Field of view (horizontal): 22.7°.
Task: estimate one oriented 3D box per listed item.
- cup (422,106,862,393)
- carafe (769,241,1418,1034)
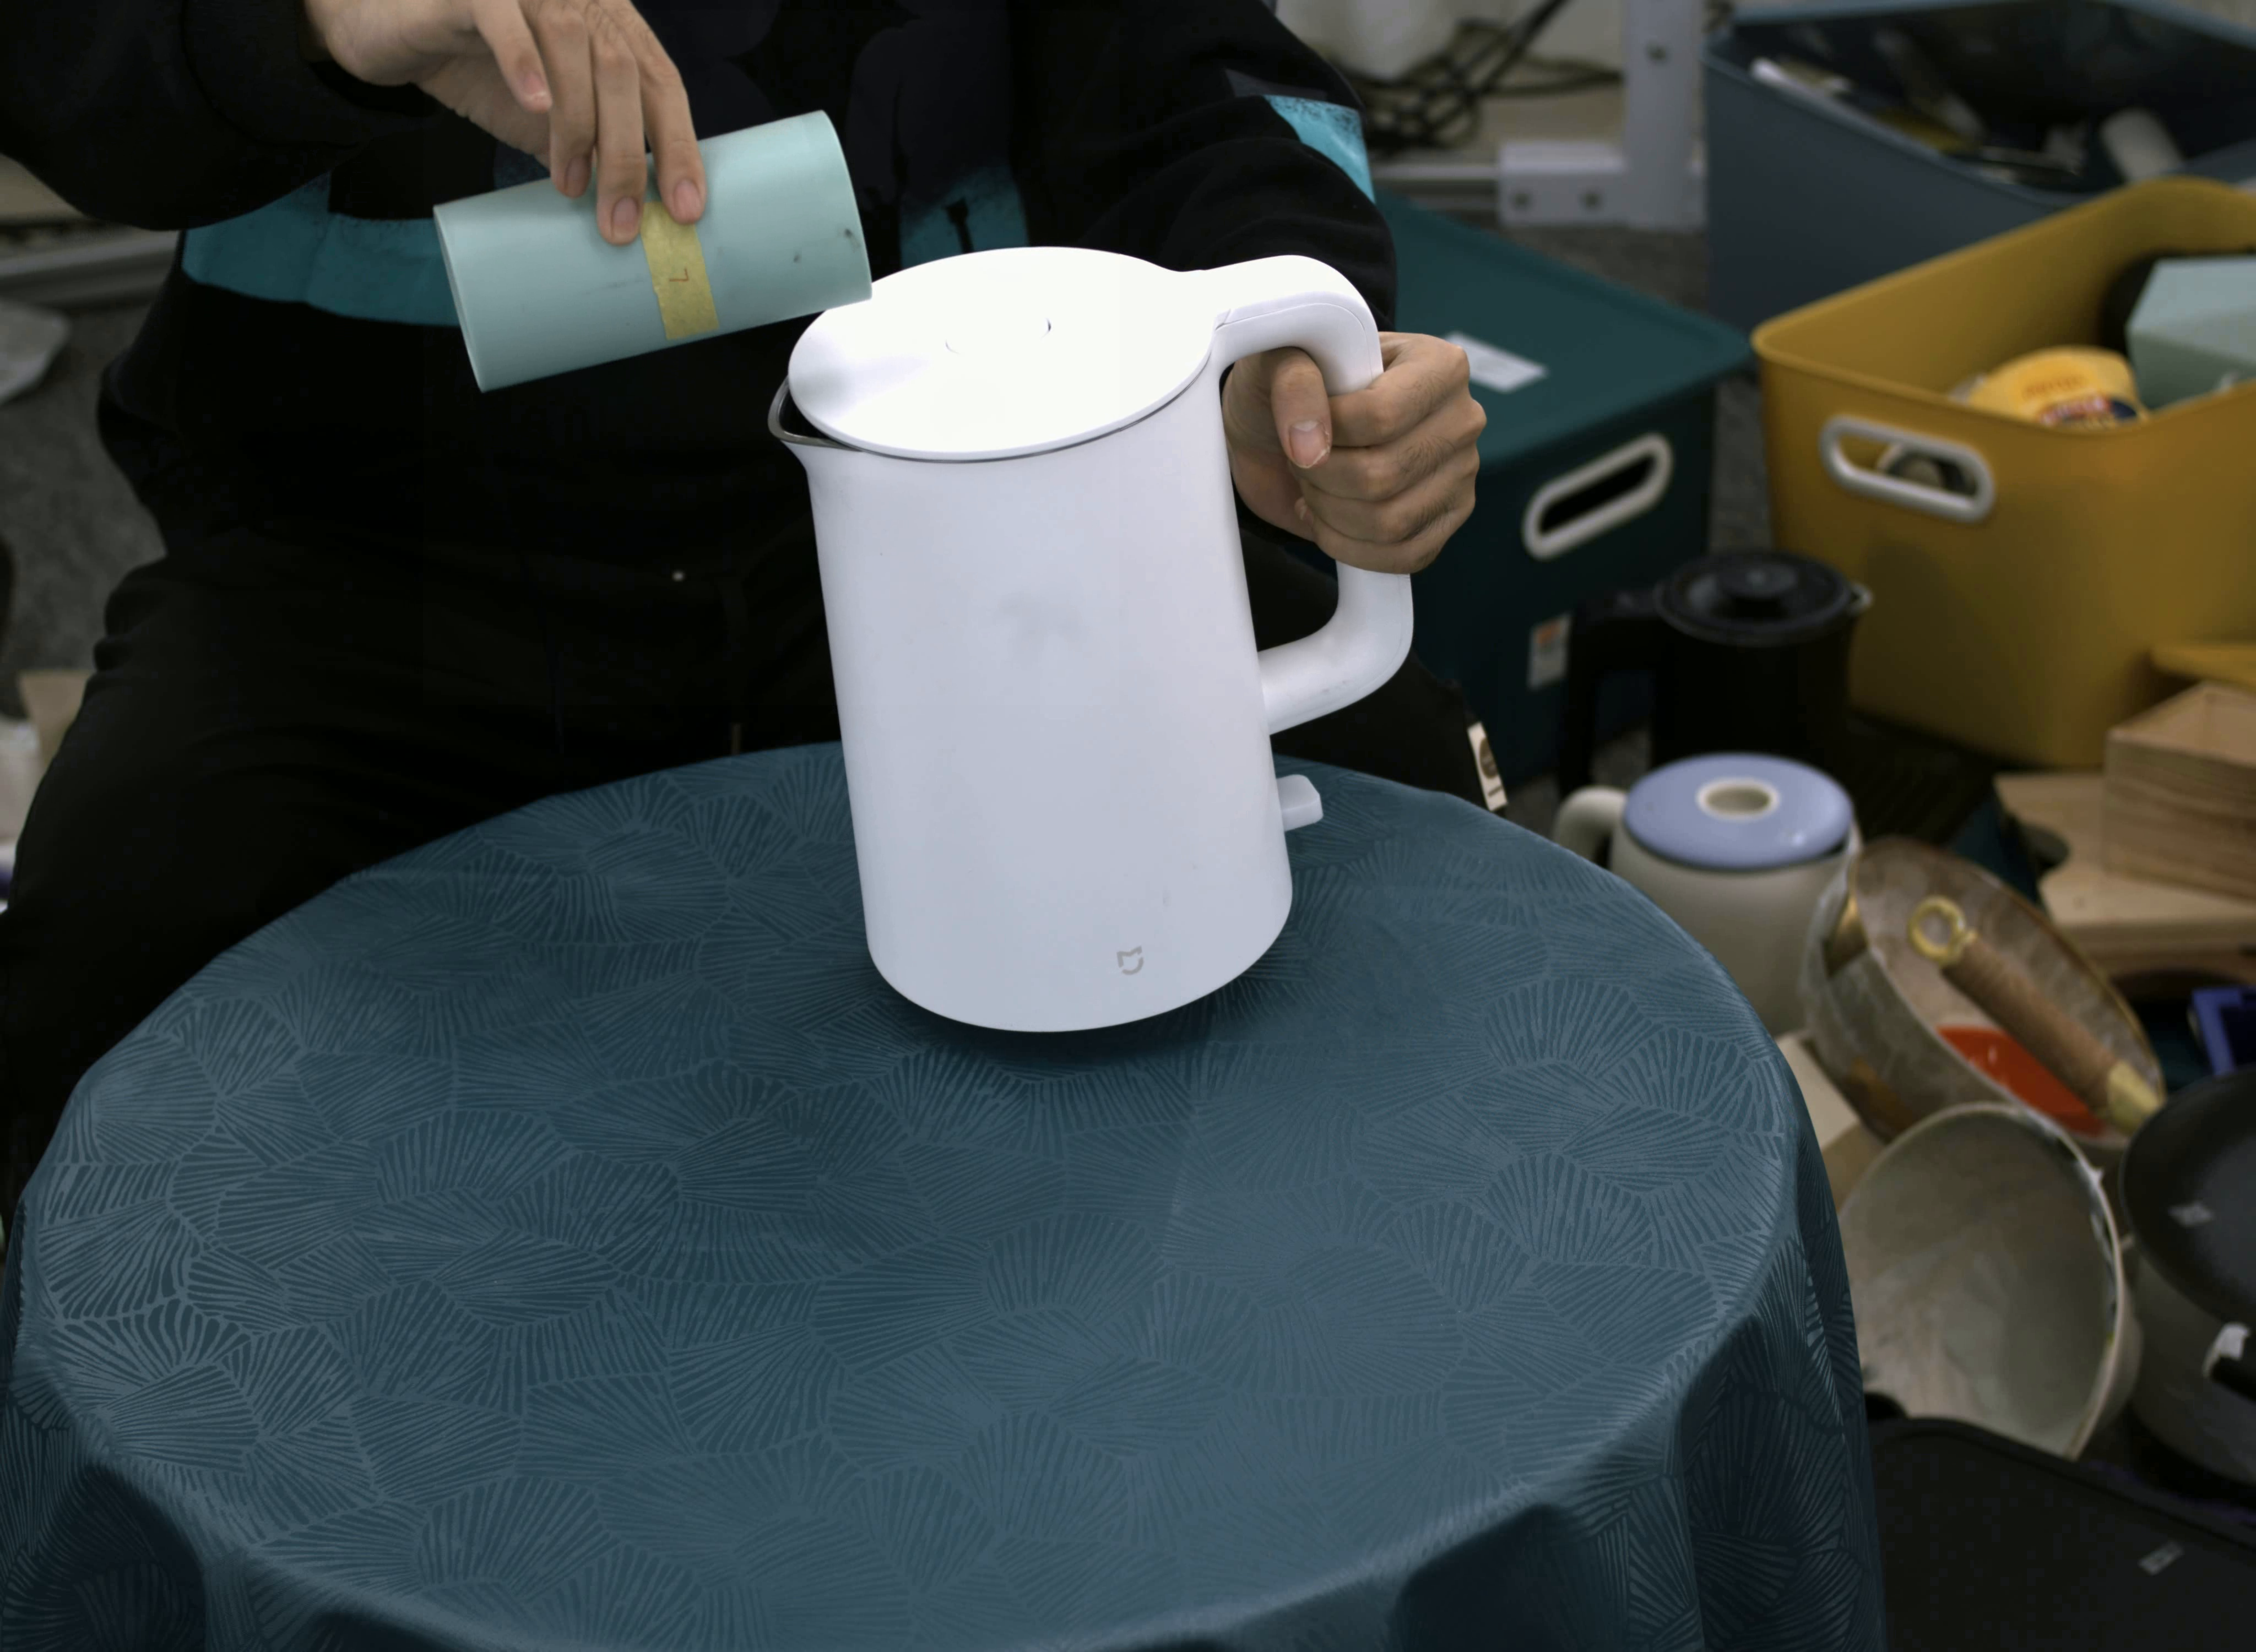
[{"bbox_3d":[-0.157,-0.187,1.829,0.132,0.066,0.067,-15,28,-6],"label":"cup"},{"bbox_3d":[-0.004,-0.072,1.937,0.213,0.237,0.154,-16,33,-12],"label":"carafe"}]
